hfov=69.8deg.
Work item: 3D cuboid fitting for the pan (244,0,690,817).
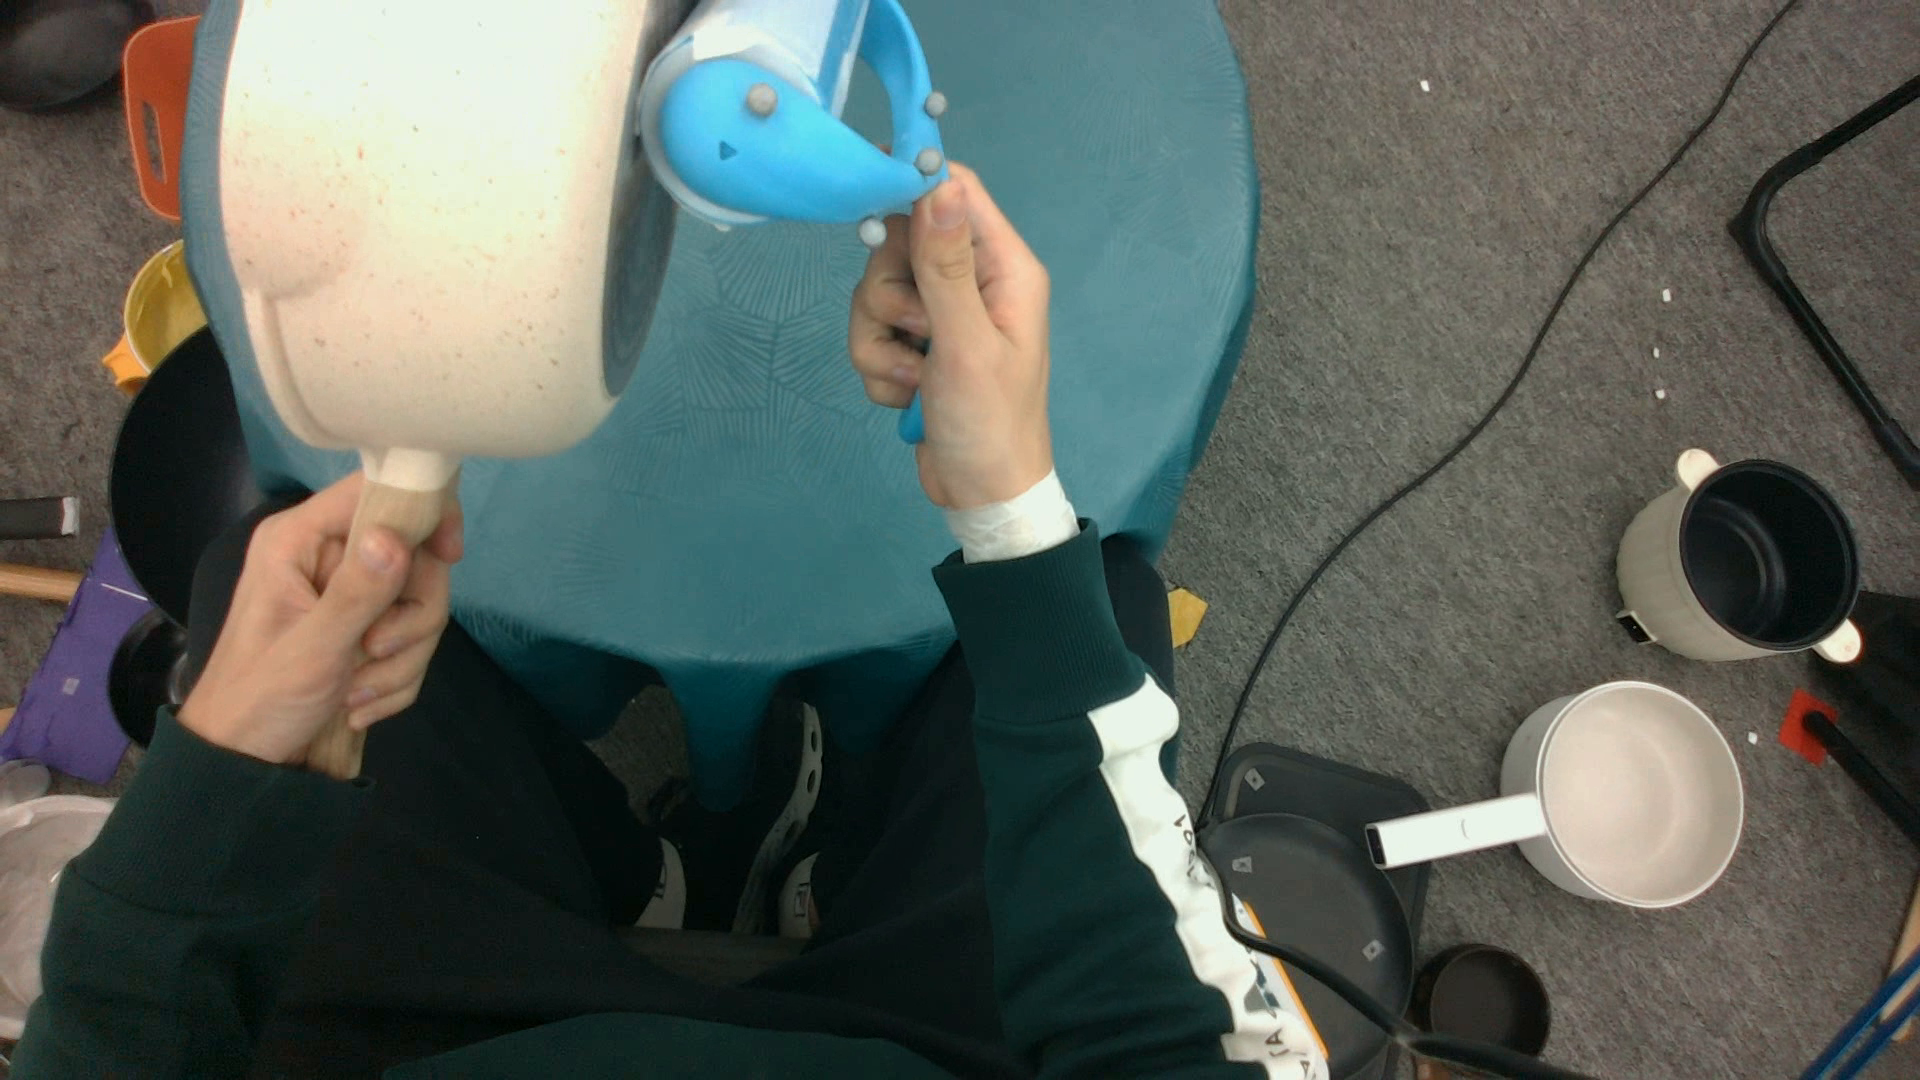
[{"bbox_3d":[-0.171,-0.068,0.486,0.102,0.264,0.433,11,118,-11],"label":"pan"}]

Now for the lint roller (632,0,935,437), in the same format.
[{"bbox_3d":[-0.042,-0.122,0.493,0.068,0.230,0.180,-25,123,11],"label":"lint roller"}]
